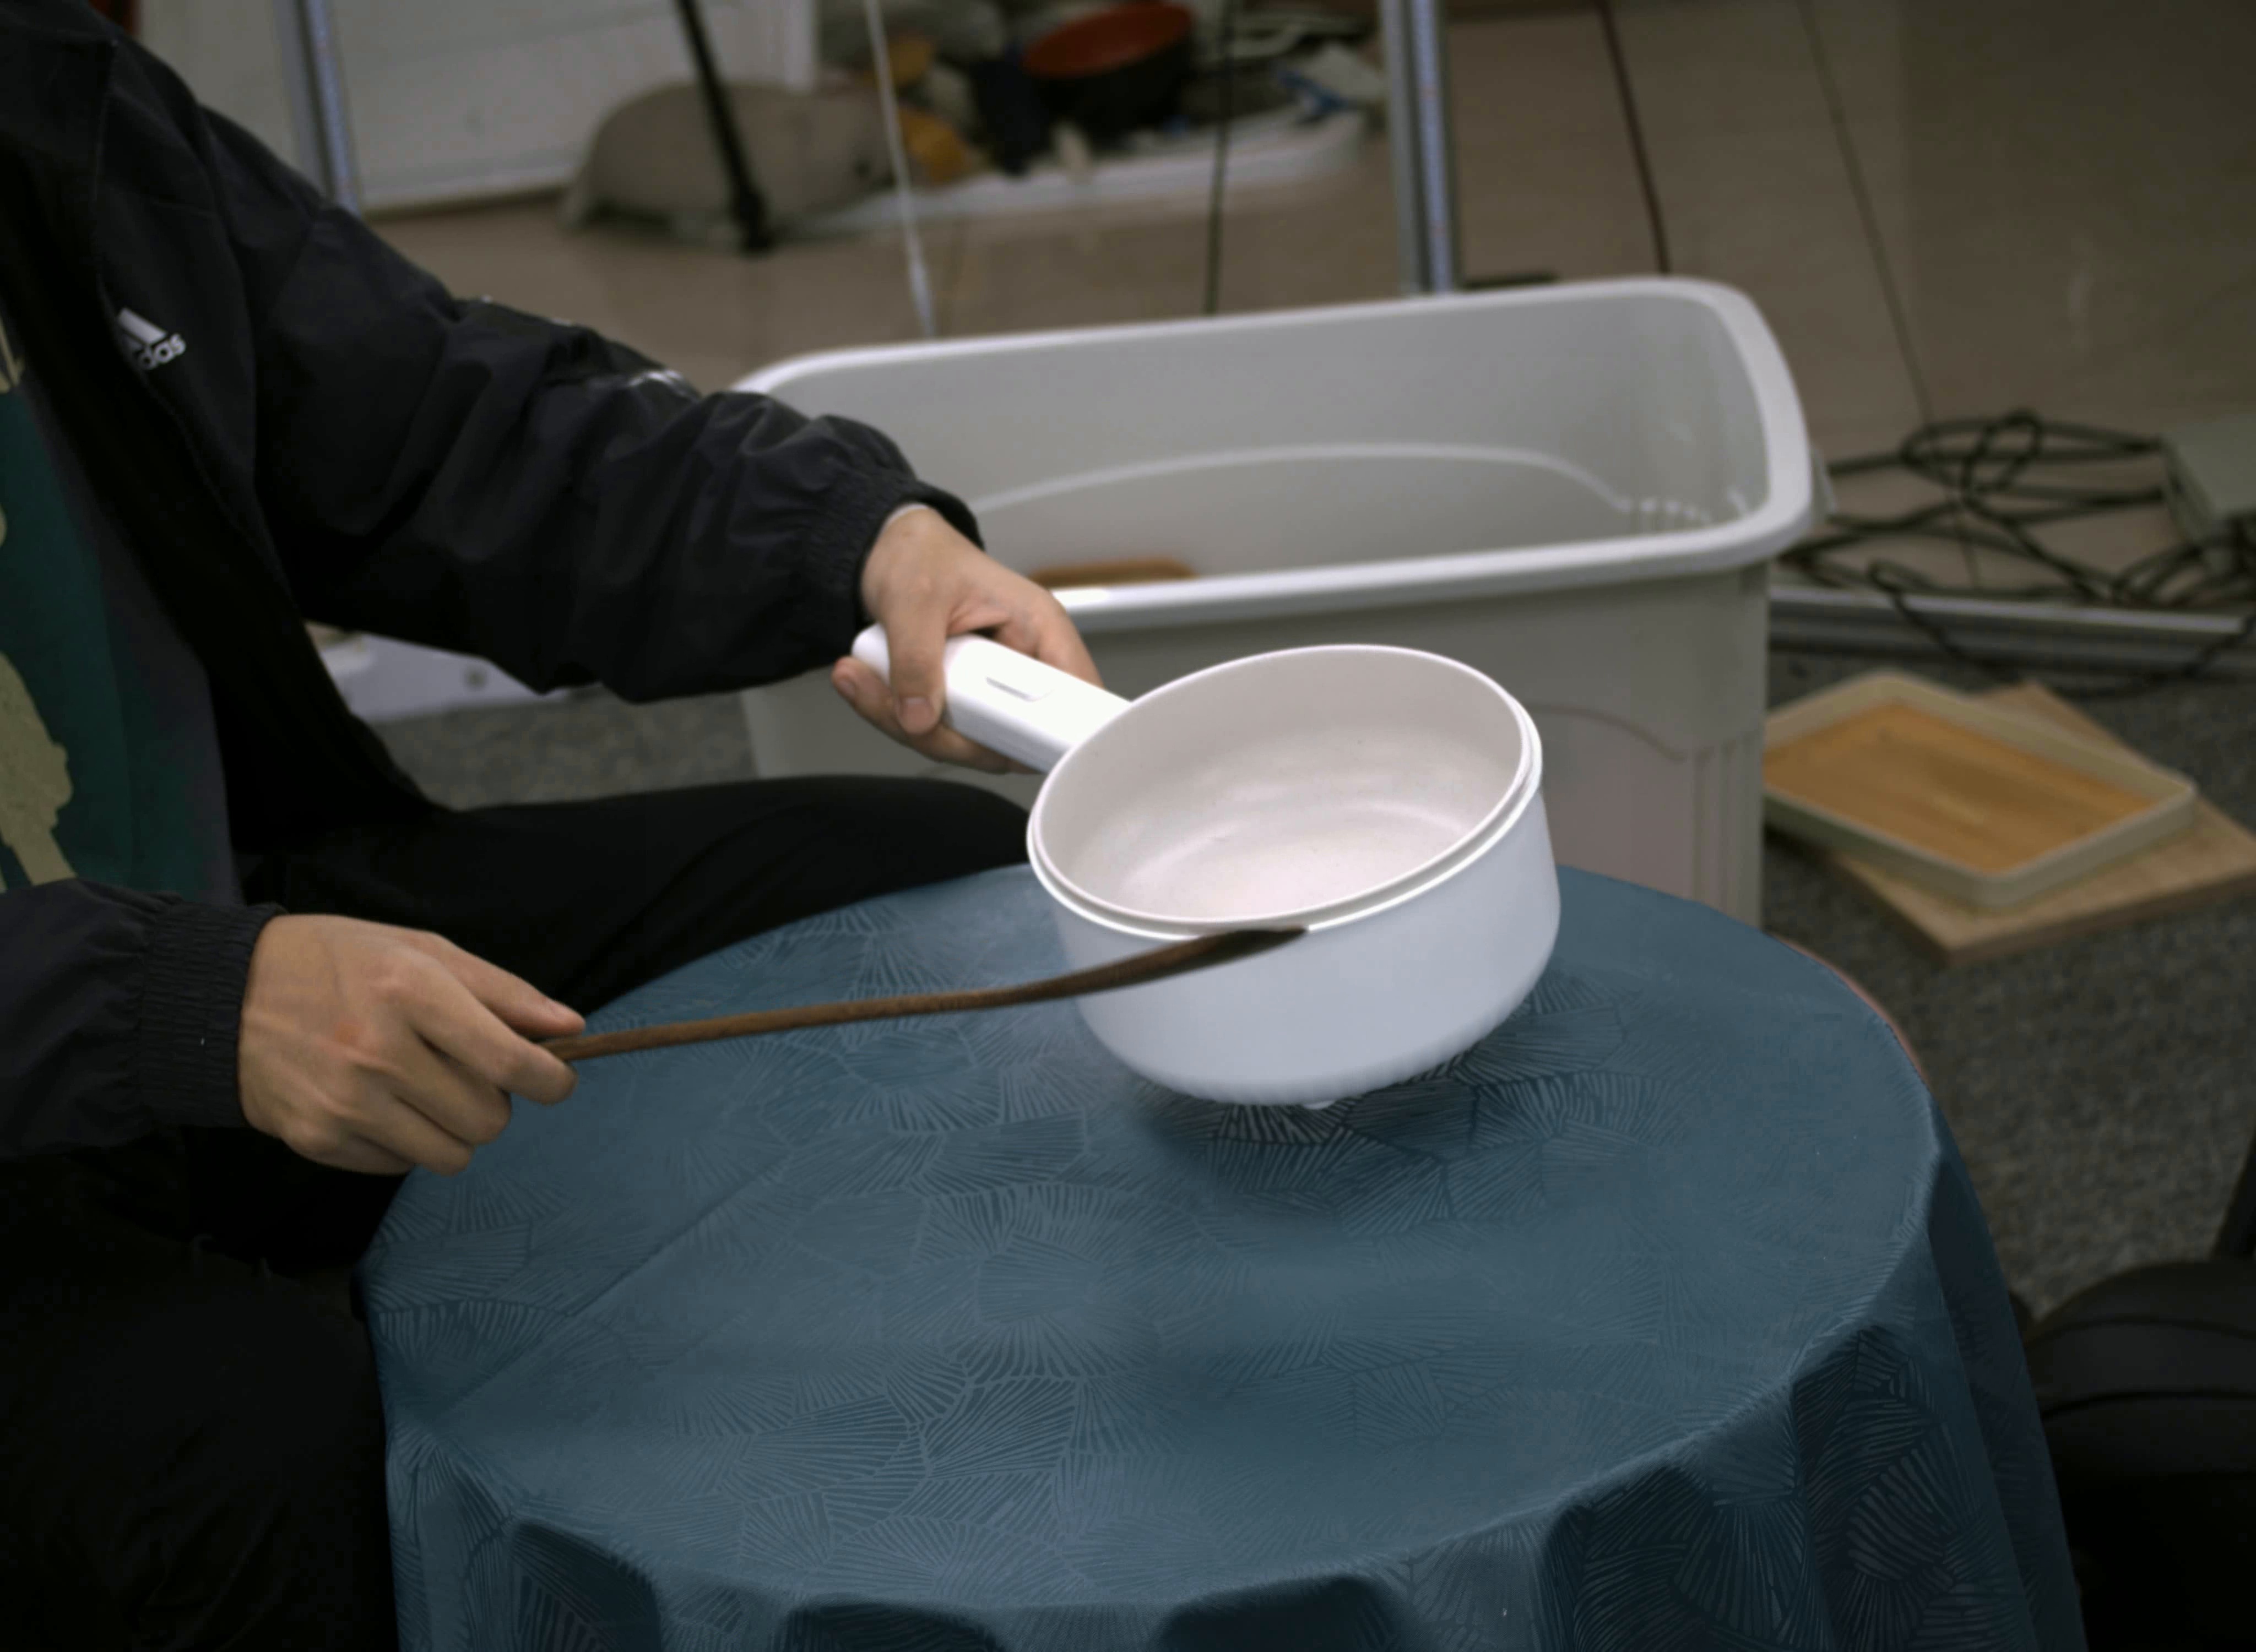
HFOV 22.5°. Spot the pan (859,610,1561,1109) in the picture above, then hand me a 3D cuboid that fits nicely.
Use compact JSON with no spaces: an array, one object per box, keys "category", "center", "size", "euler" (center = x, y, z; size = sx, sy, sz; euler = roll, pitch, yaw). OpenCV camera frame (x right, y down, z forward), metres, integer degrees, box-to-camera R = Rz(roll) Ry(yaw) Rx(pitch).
[{"category":"pan","center":[0.020,0.003,2.252],"size":[0.199,0.104,0.351],"euler":[-34,35,-27]}]

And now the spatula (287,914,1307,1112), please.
[{"category":"spatula","center":[-0.124,0.067,2.036],"size":[0.386,0.016,0.096],"euler":[-9,-3,13]}]
